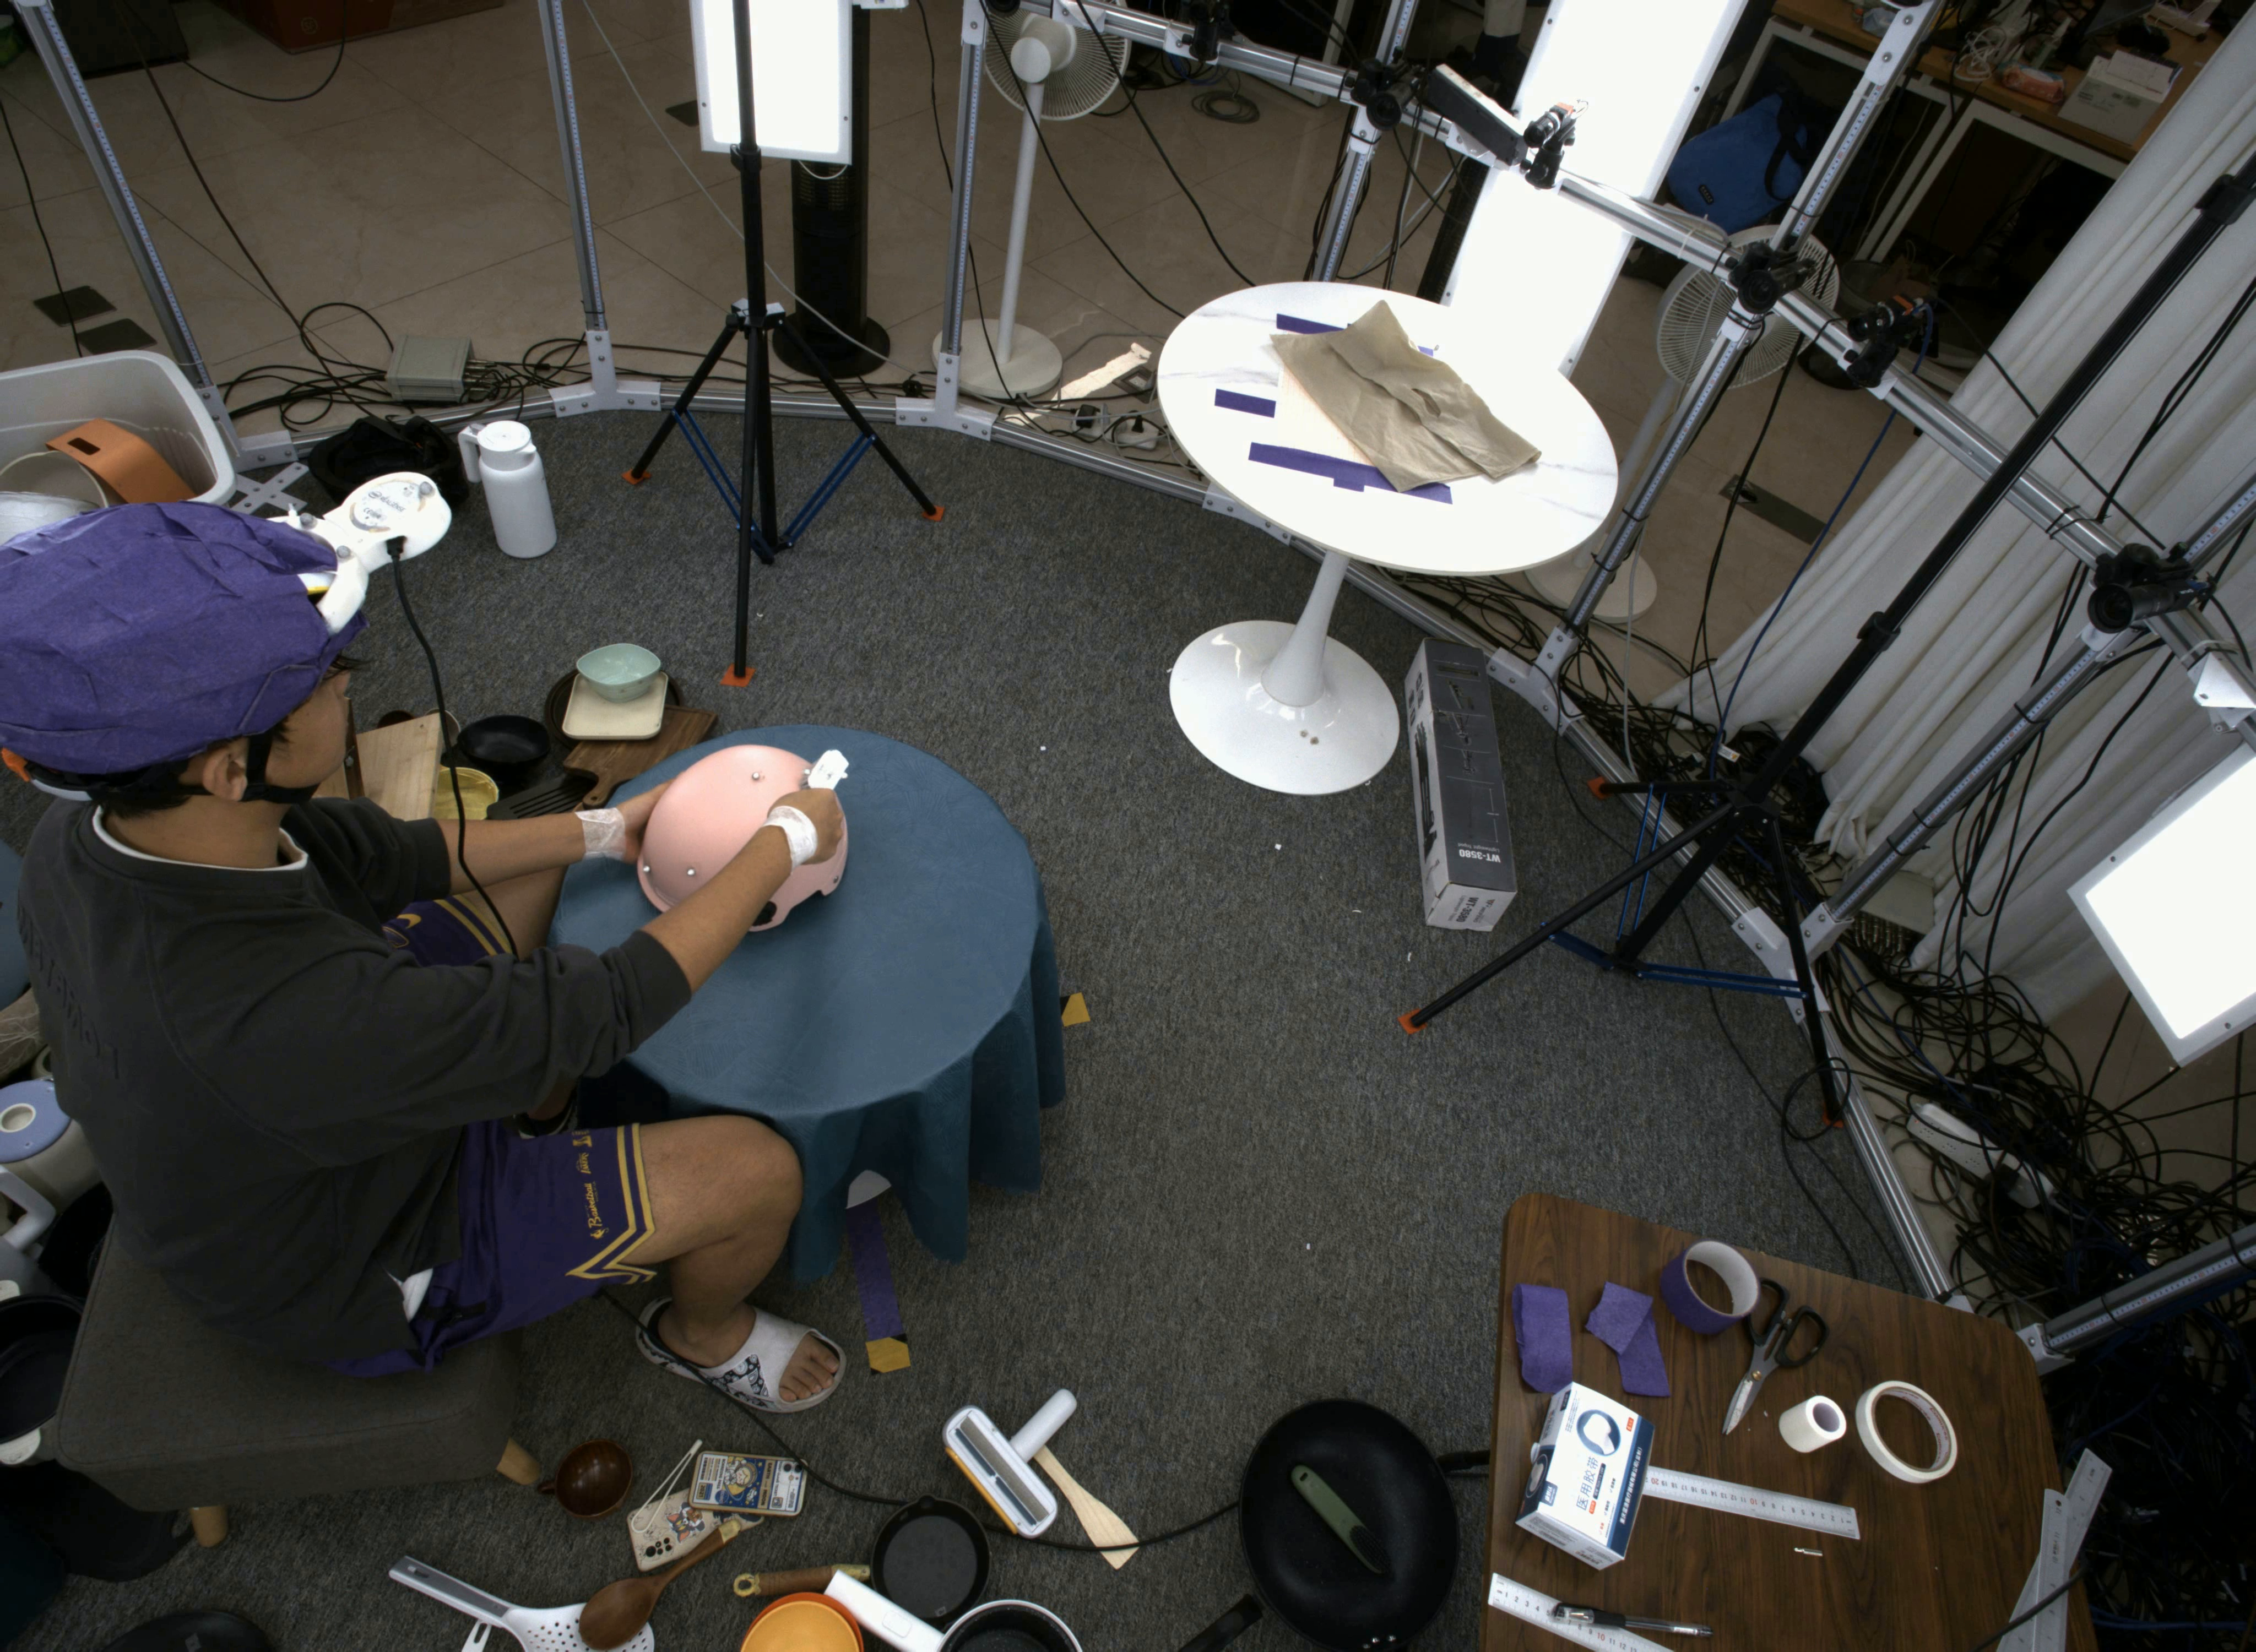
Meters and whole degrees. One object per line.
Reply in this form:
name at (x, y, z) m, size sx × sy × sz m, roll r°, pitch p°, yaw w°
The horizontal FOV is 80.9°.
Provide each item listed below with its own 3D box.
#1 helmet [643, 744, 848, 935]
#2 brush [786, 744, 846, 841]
helmet at (-0.482, -0.002, 1.609) m, size 0.267 × 0.162 × 0.229 m, roll -25°, pitch 66°, yaw -25°
brush at (-0.374, -0.030, 1.513) m, size 0.035 × 0.050 × 0.238 m, roll 38°, pitch 20°, yaw -18°
